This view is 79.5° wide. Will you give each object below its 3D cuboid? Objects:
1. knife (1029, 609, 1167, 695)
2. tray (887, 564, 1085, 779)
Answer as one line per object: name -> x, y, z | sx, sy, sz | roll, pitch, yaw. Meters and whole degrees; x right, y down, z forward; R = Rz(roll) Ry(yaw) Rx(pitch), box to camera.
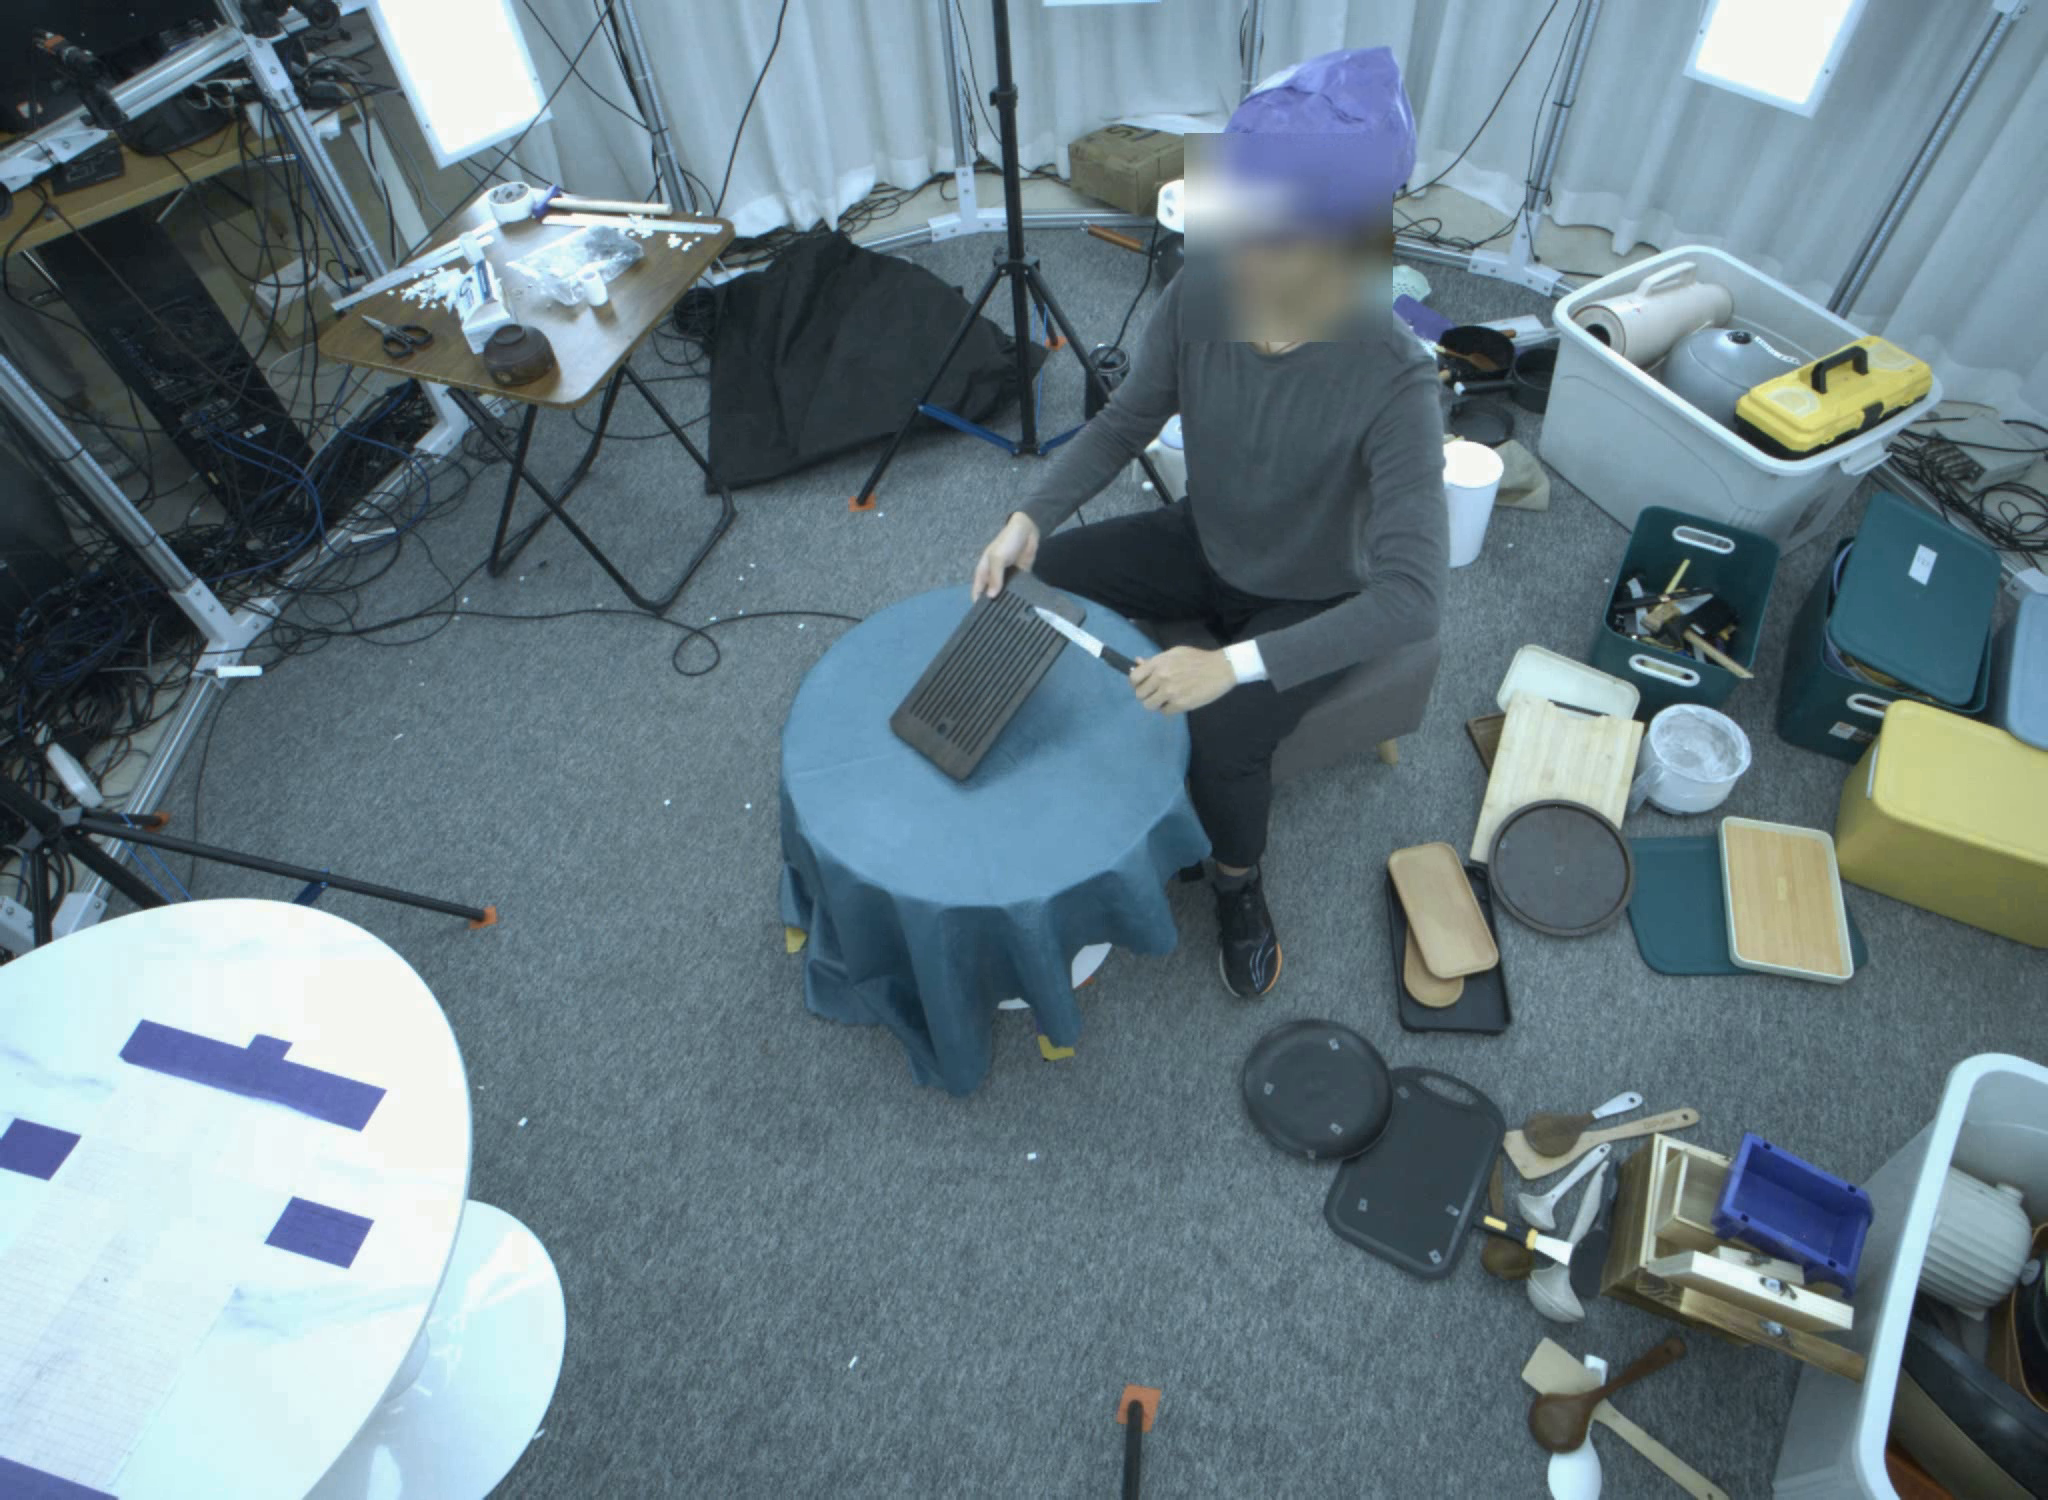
knife -> 0.101, -0.142, 1.701 | 0.234, 0.024, 0.016 | 33, 28, 20
tray -> -0.056, -0.117, 1.794 | 0.167, 0.019, 0.306 | 35, 87, 28
